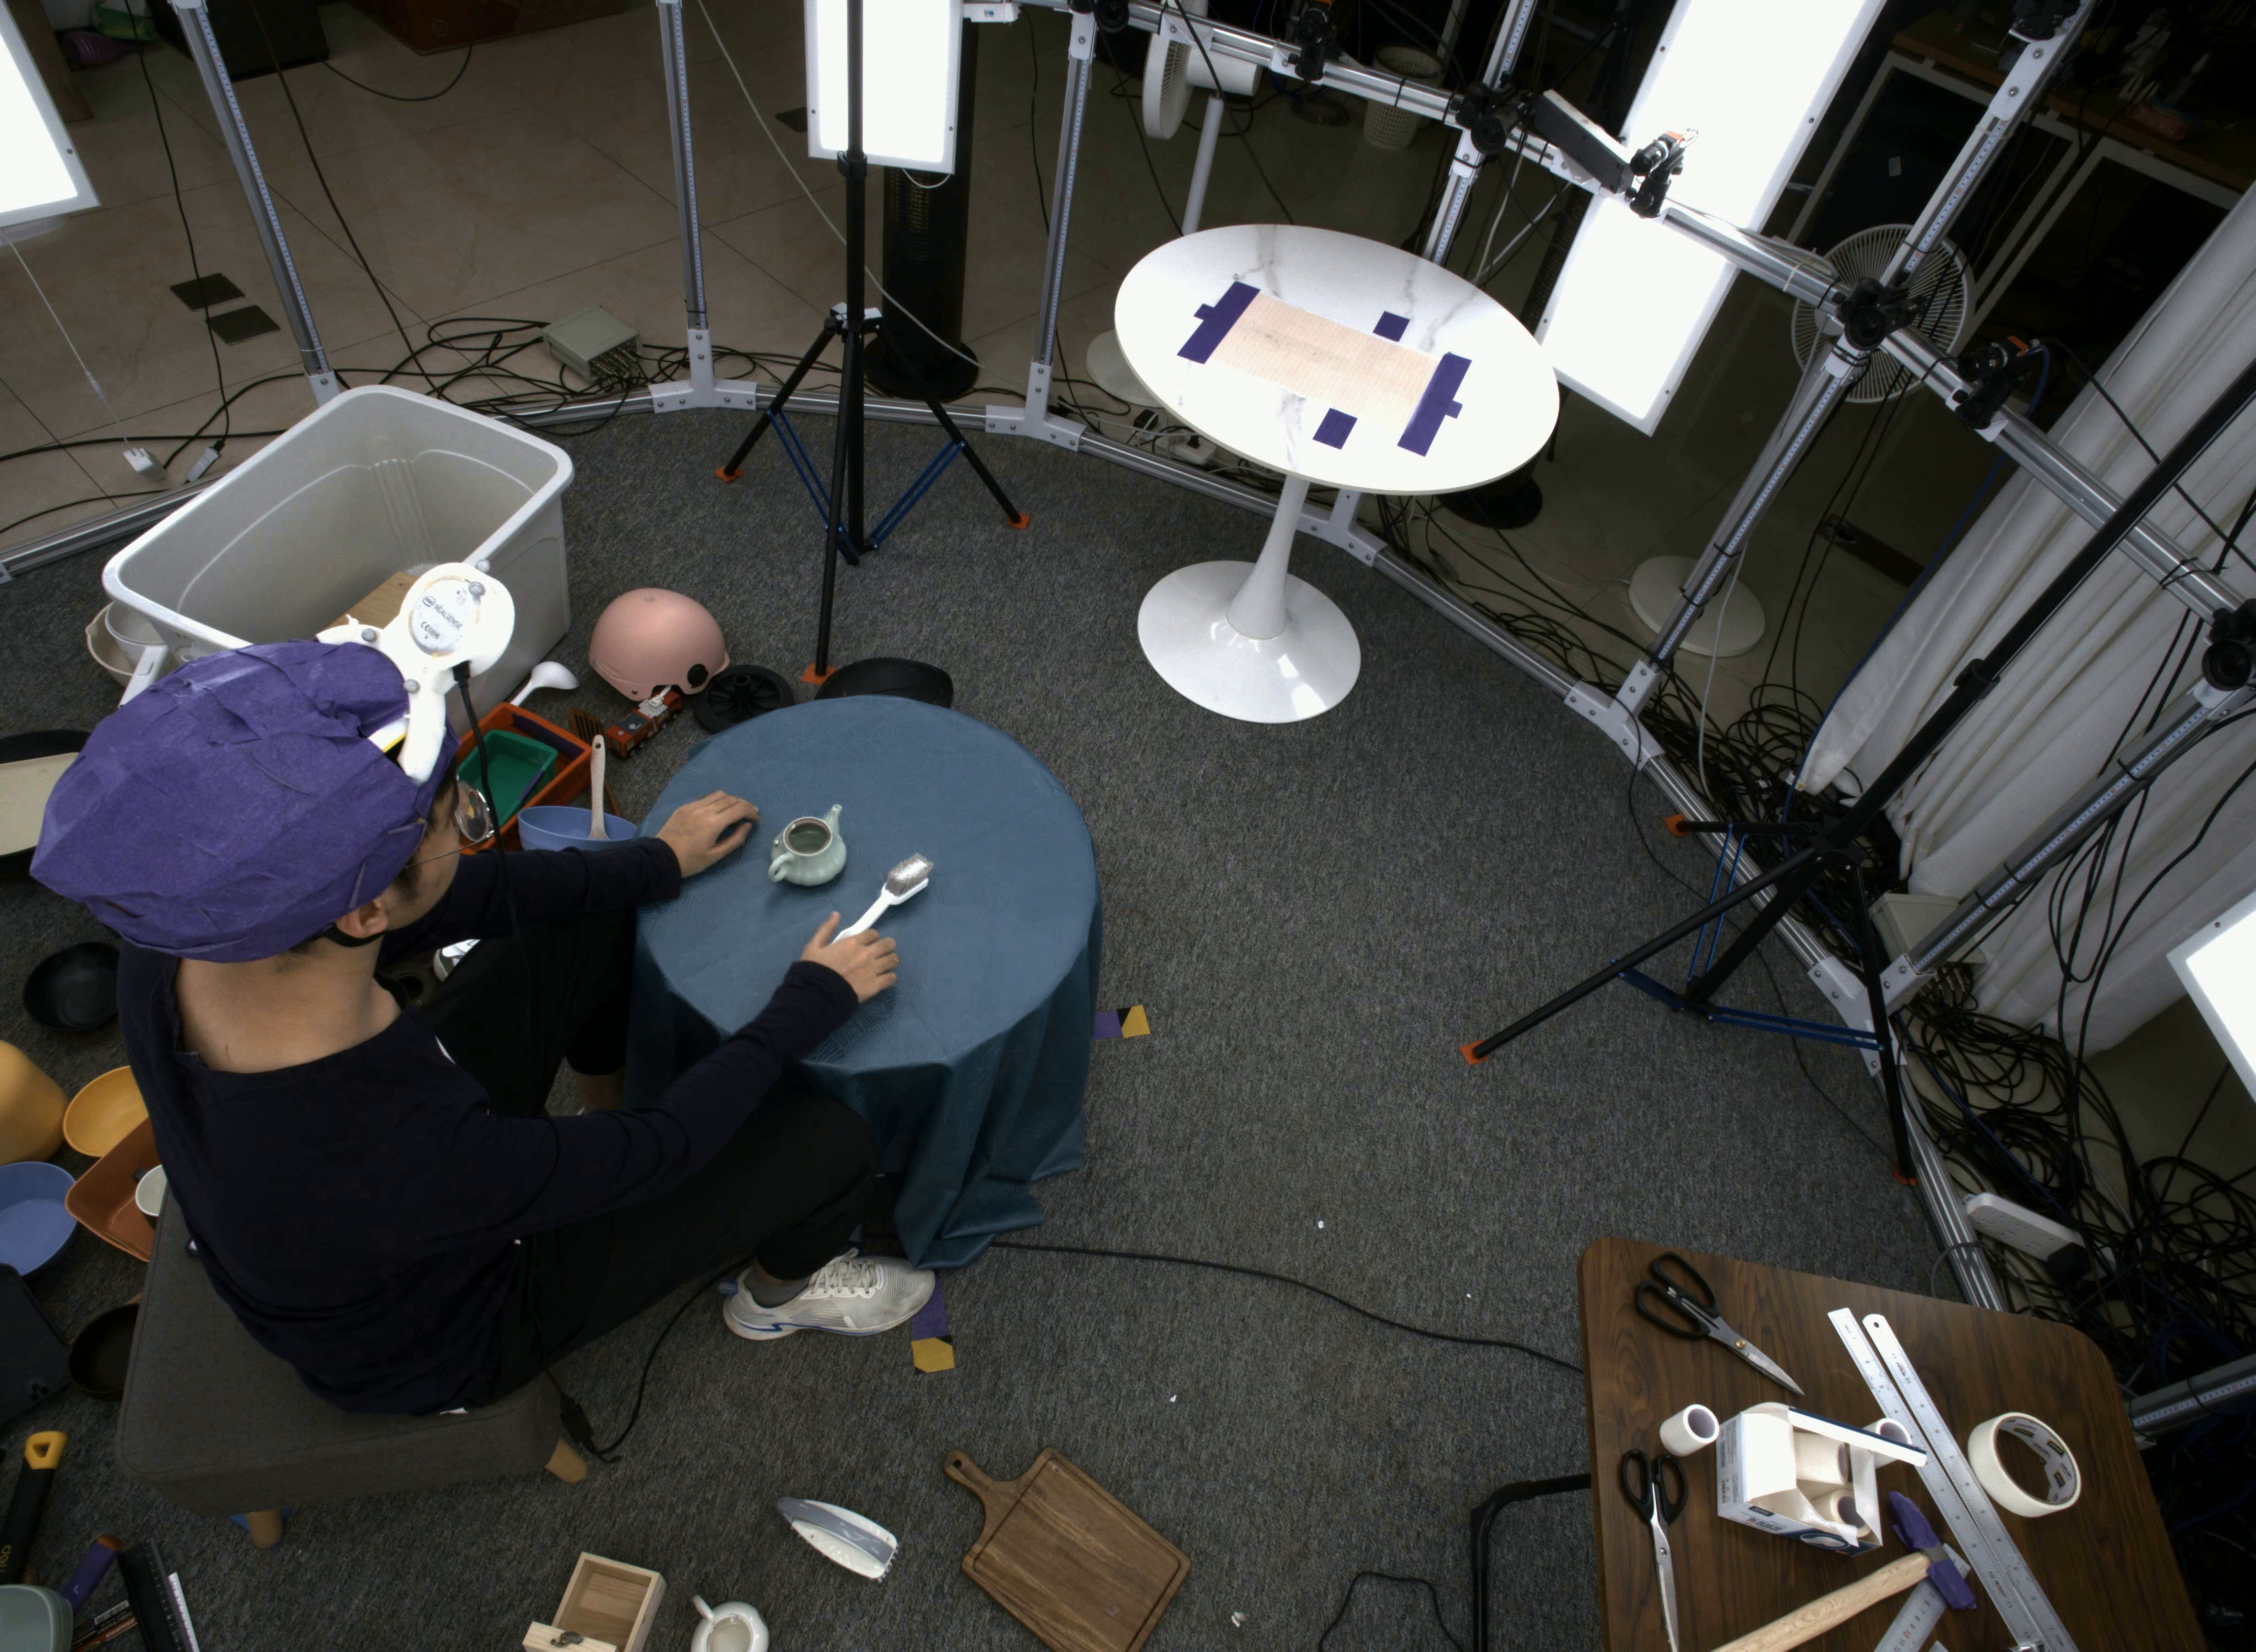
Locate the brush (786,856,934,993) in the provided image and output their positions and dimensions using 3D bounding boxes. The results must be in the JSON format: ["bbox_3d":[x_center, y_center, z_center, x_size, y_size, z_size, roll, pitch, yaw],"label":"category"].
[{"bbox_3d":[-0.335,0.117,1.630,0.034,0.051,0.243,38,54,13],"label":"brush"}]

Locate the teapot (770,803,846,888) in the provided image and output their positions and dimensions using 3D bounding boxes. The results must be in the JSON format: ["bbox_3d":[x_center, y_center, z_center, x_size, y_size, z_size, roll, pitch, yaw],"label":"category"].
[{"bbox_3d":[-0.414,0.031,1.666,0.095,0.062,0.136,31,52,8],"label":"teapot"}]
